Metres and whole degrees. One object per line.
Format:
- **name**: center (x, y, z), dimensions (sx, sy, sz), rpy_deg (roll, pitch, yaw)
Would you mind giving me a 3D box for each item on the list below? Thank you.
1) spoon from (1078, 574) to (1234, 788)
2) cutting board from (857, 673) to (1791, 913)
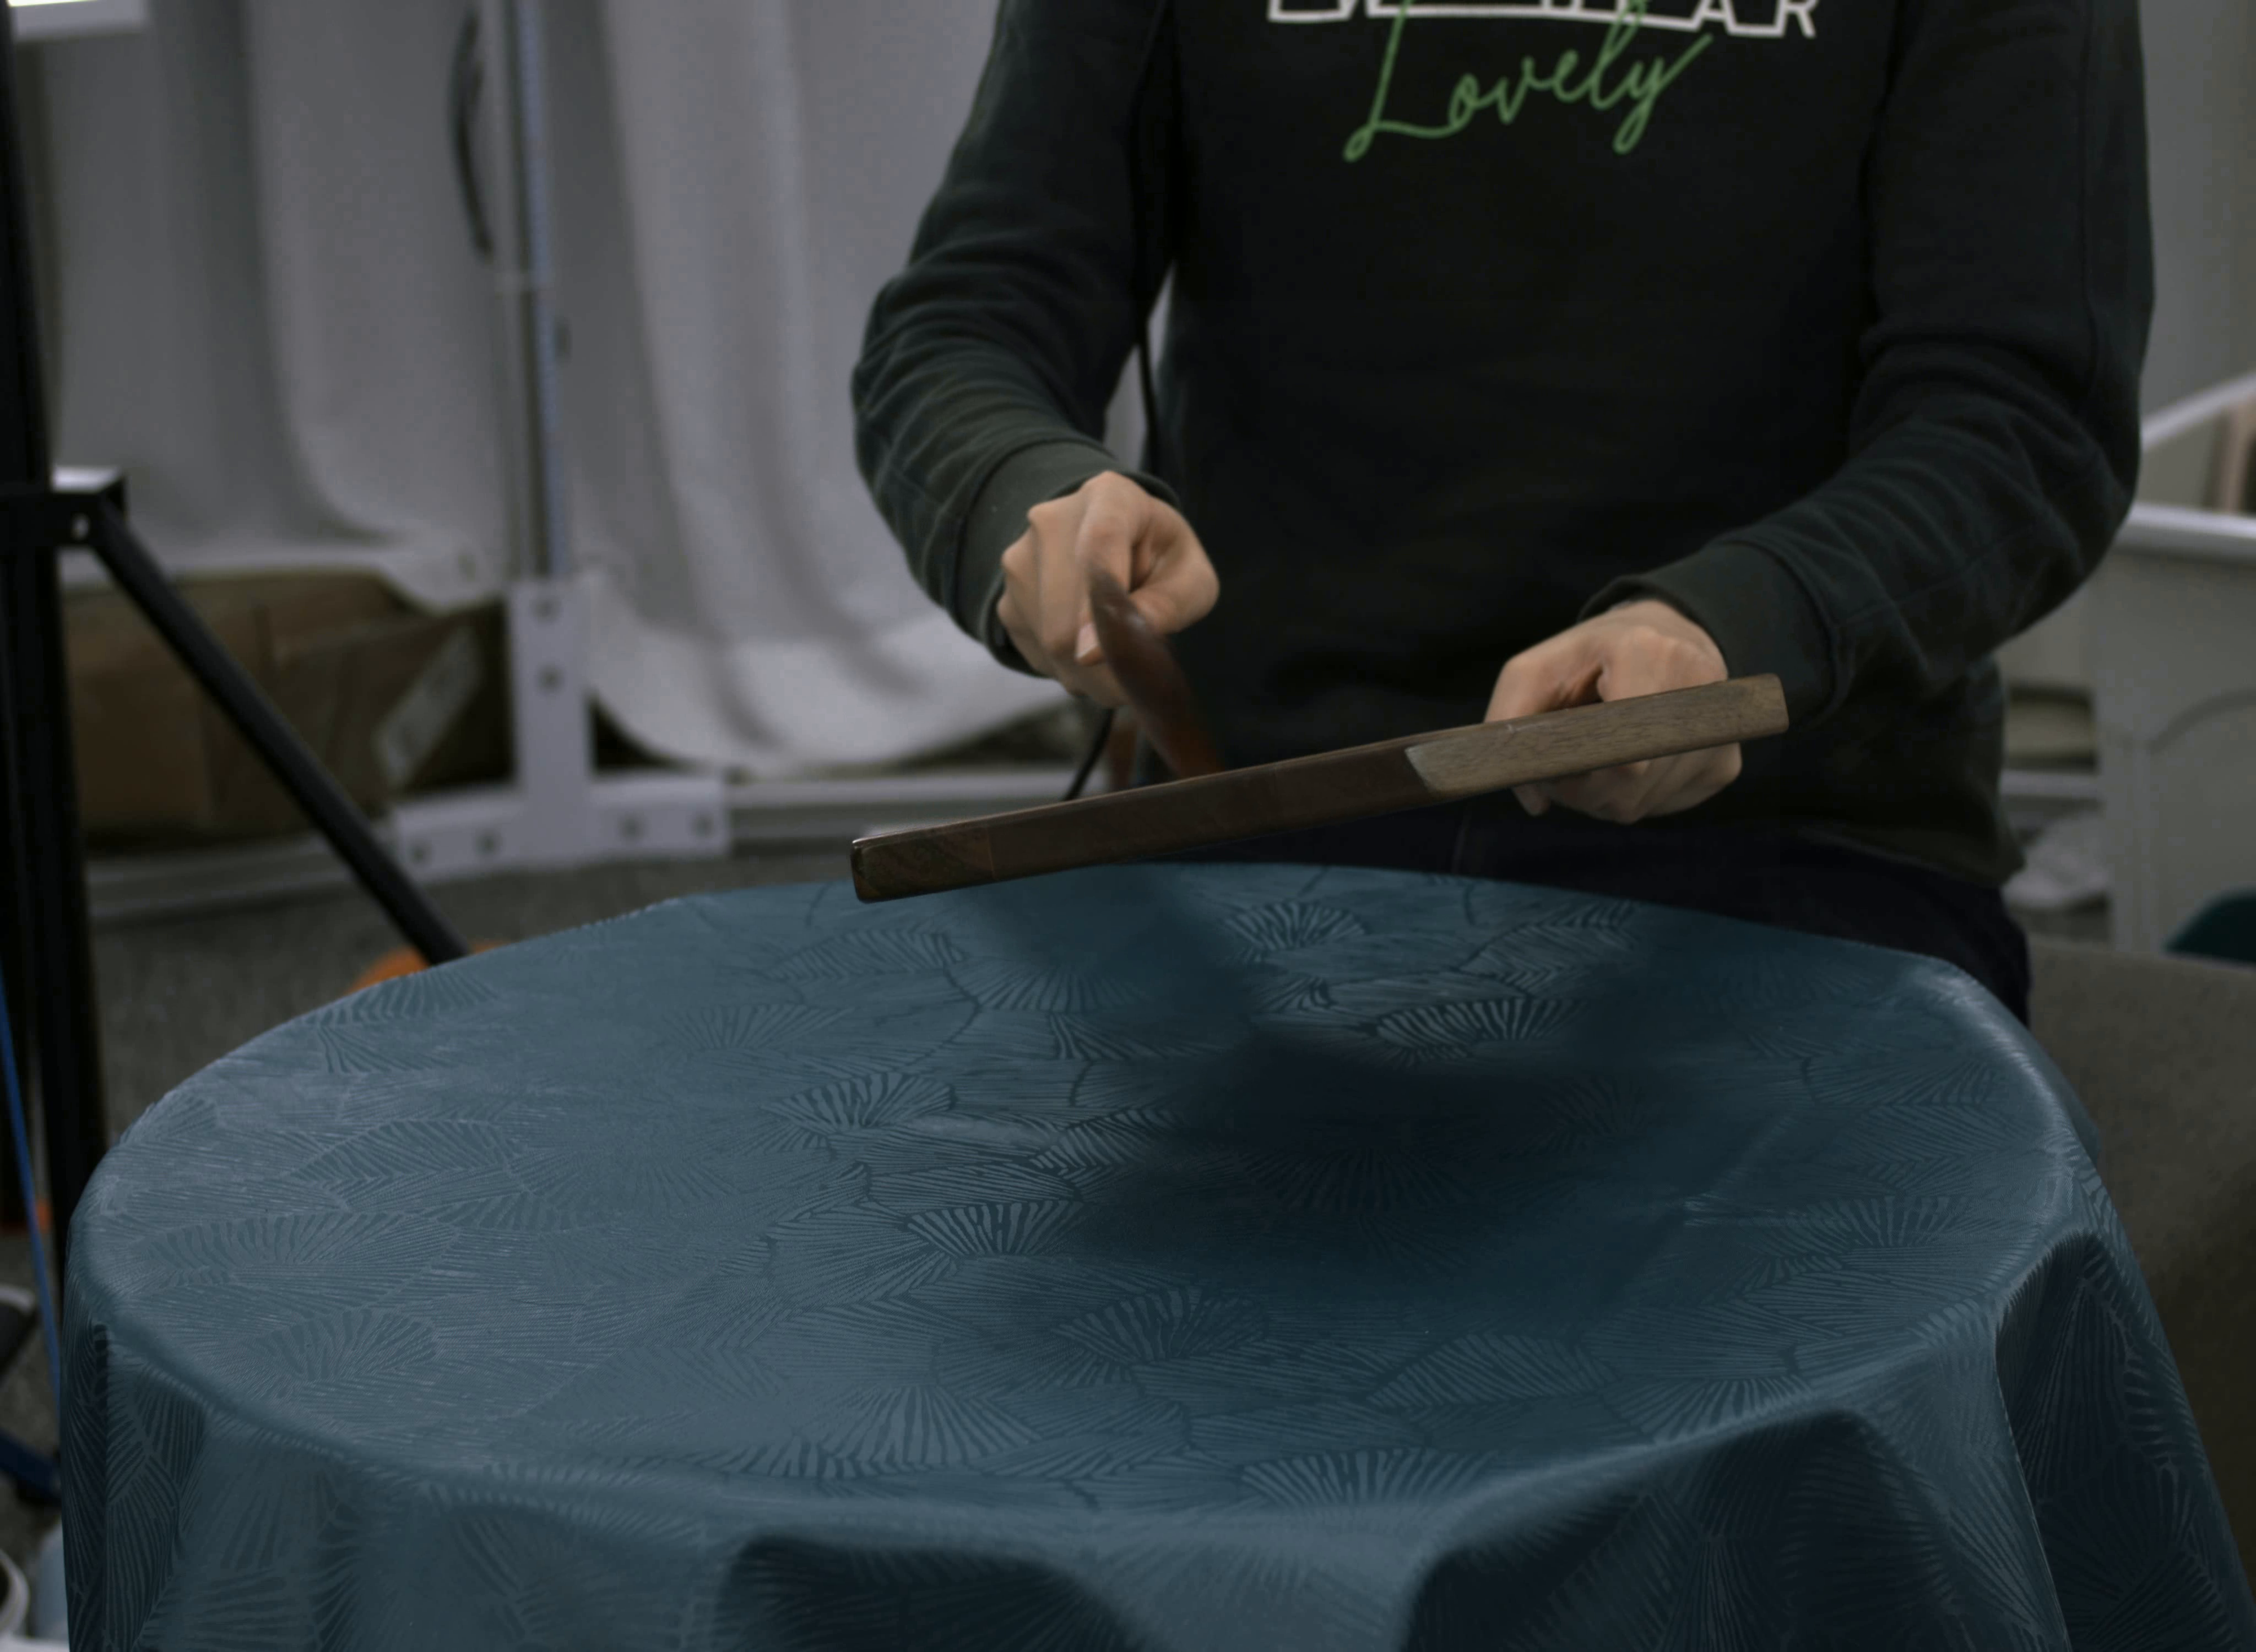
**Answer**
- **spoon**: center (0.001, -0.052, 1.657), dimensions (0.017, 0.075, 0.217), rpy_deg (-33, 11, 2)
- **cutting board**: center (0.085, -0.015, 1.602), dimensions (0.204, 0.023, 0.345), rpy_deg (-11, -1, 29)
